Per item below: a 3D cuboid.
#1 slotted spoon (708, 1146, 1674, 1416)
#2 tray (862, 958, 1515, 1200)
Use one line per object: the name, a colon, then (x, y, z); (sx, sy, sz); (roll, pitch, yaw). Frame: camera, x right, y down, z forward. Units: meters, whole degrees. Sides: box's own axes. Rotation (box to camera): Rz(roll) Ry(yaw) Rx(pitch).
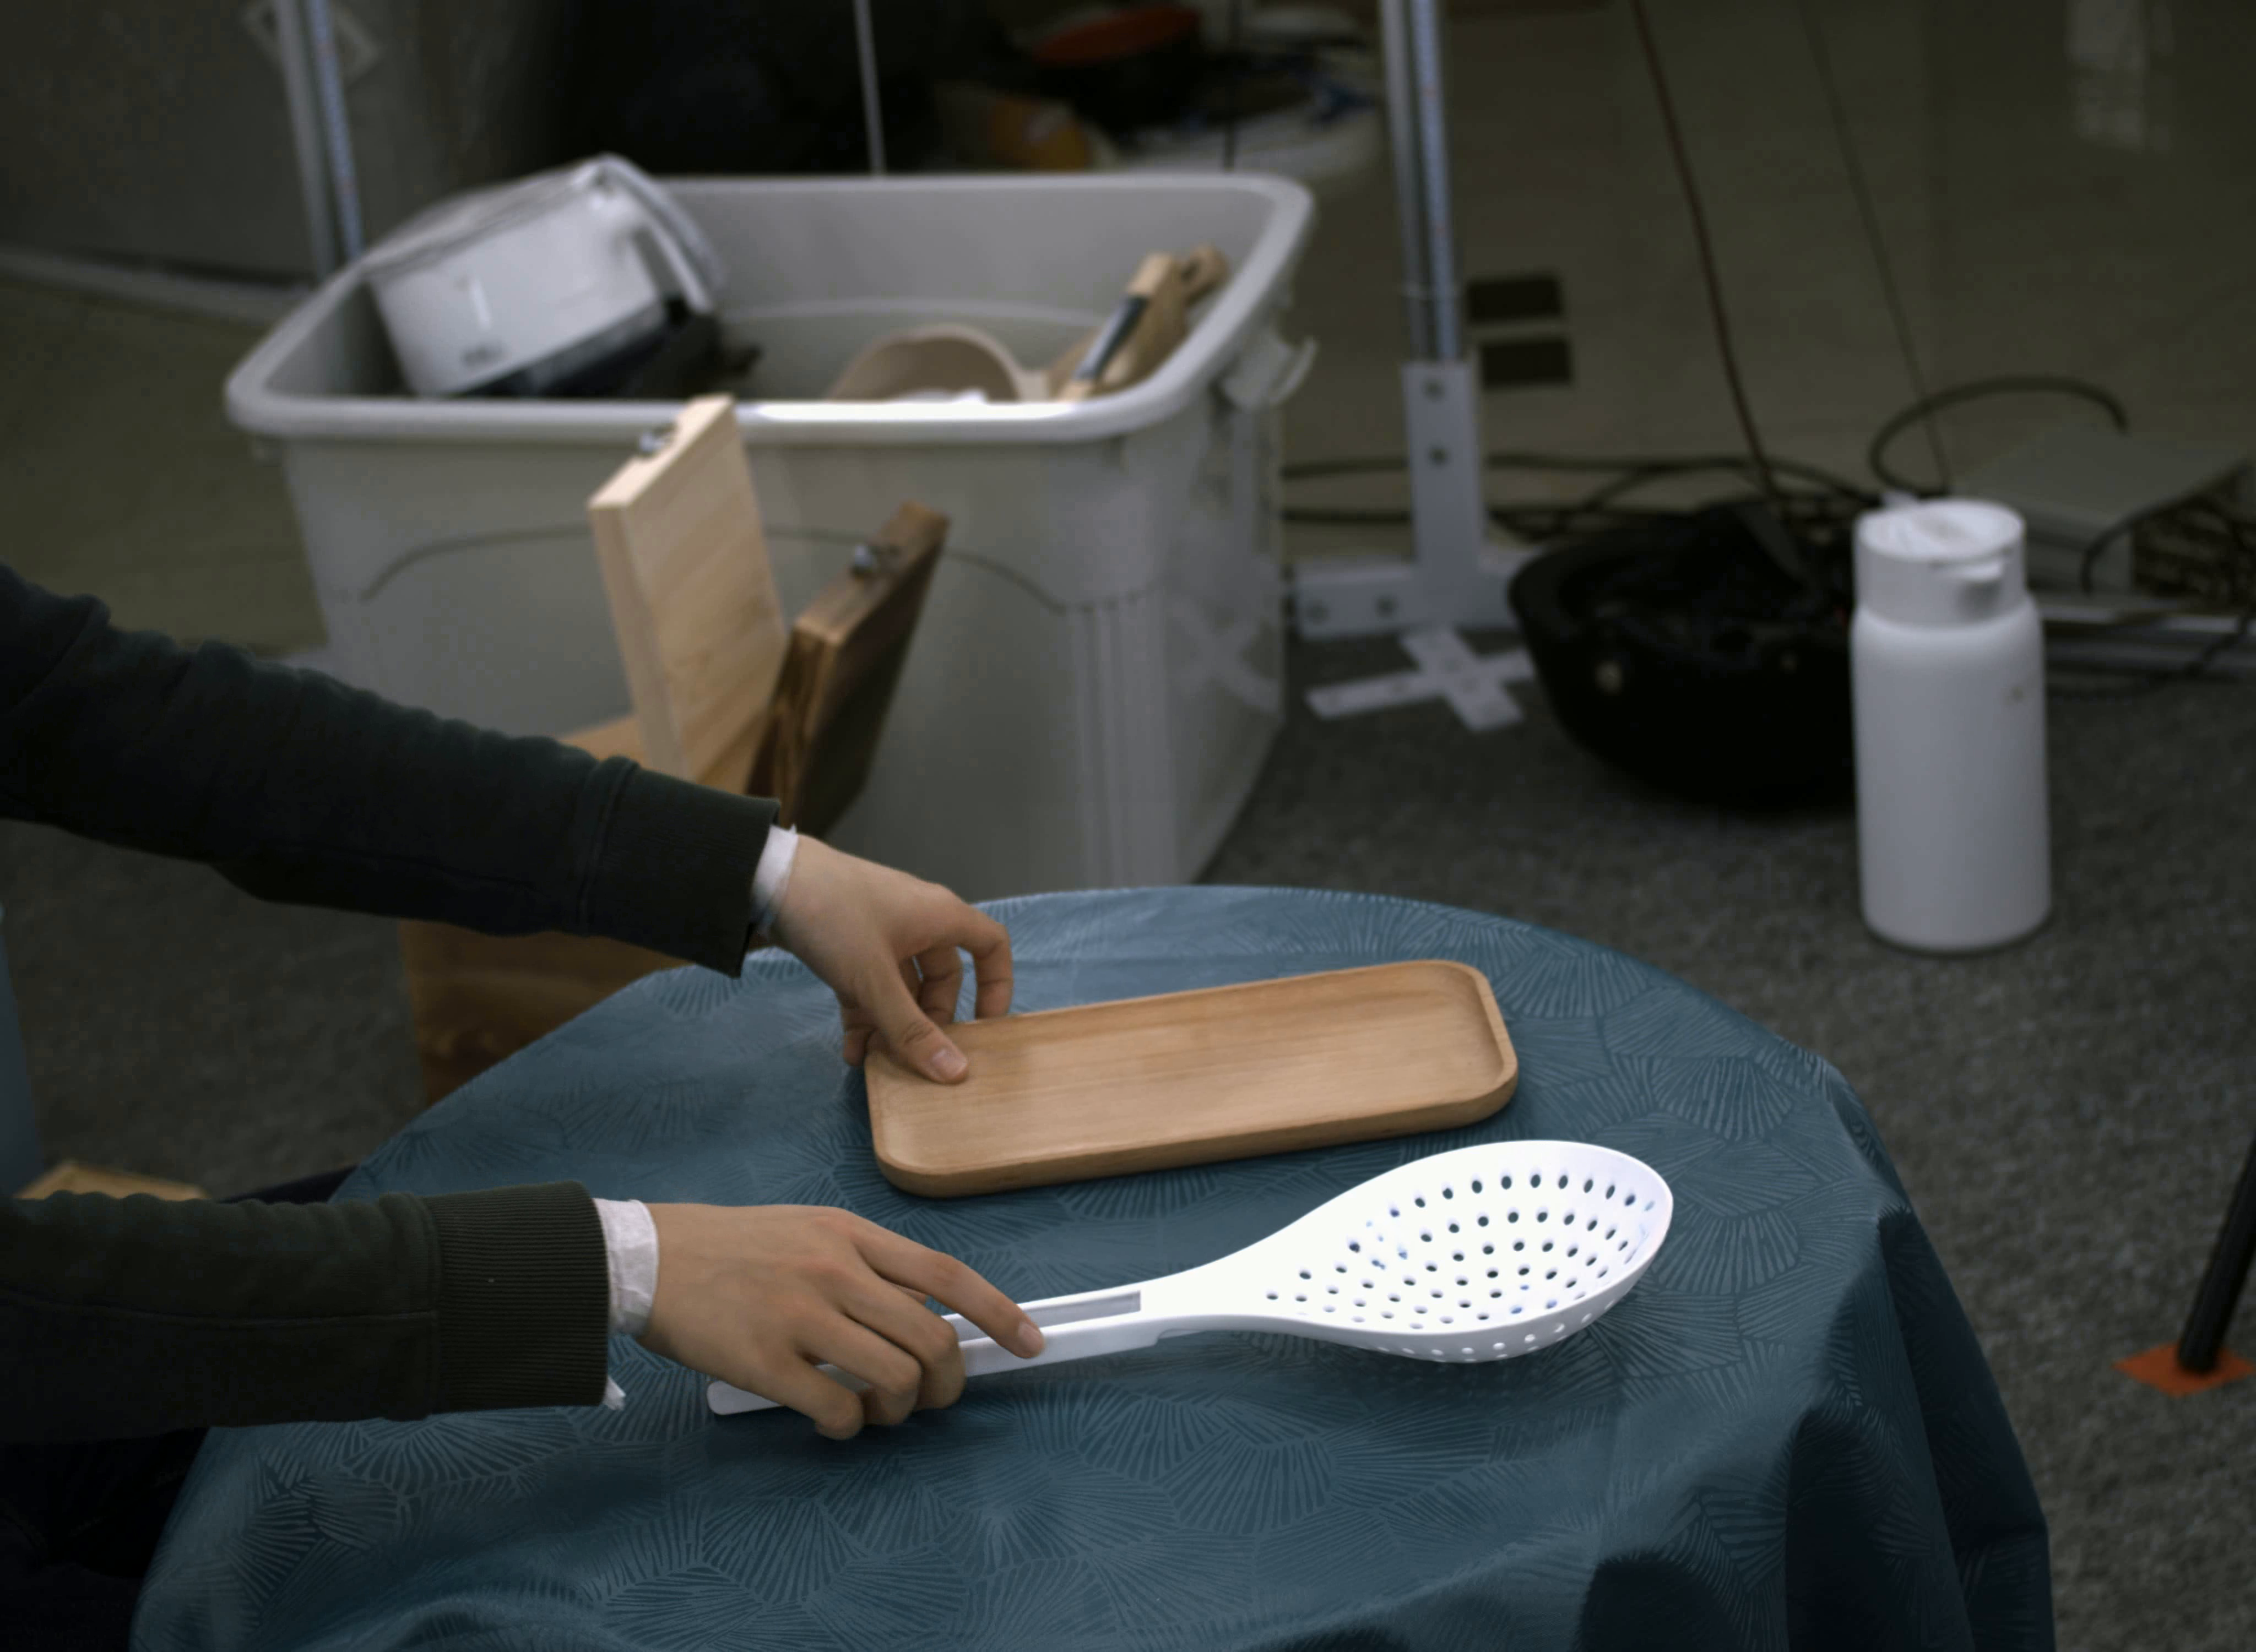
slotted spoon: (0.021, 0.171, 2.024); (0.349, 0.046, 0.134); (-6, 23, 3)
tray: (0.023, 0.099, 2.214); (0.250, 0.023, 0.129); (-8, 23, -2)
